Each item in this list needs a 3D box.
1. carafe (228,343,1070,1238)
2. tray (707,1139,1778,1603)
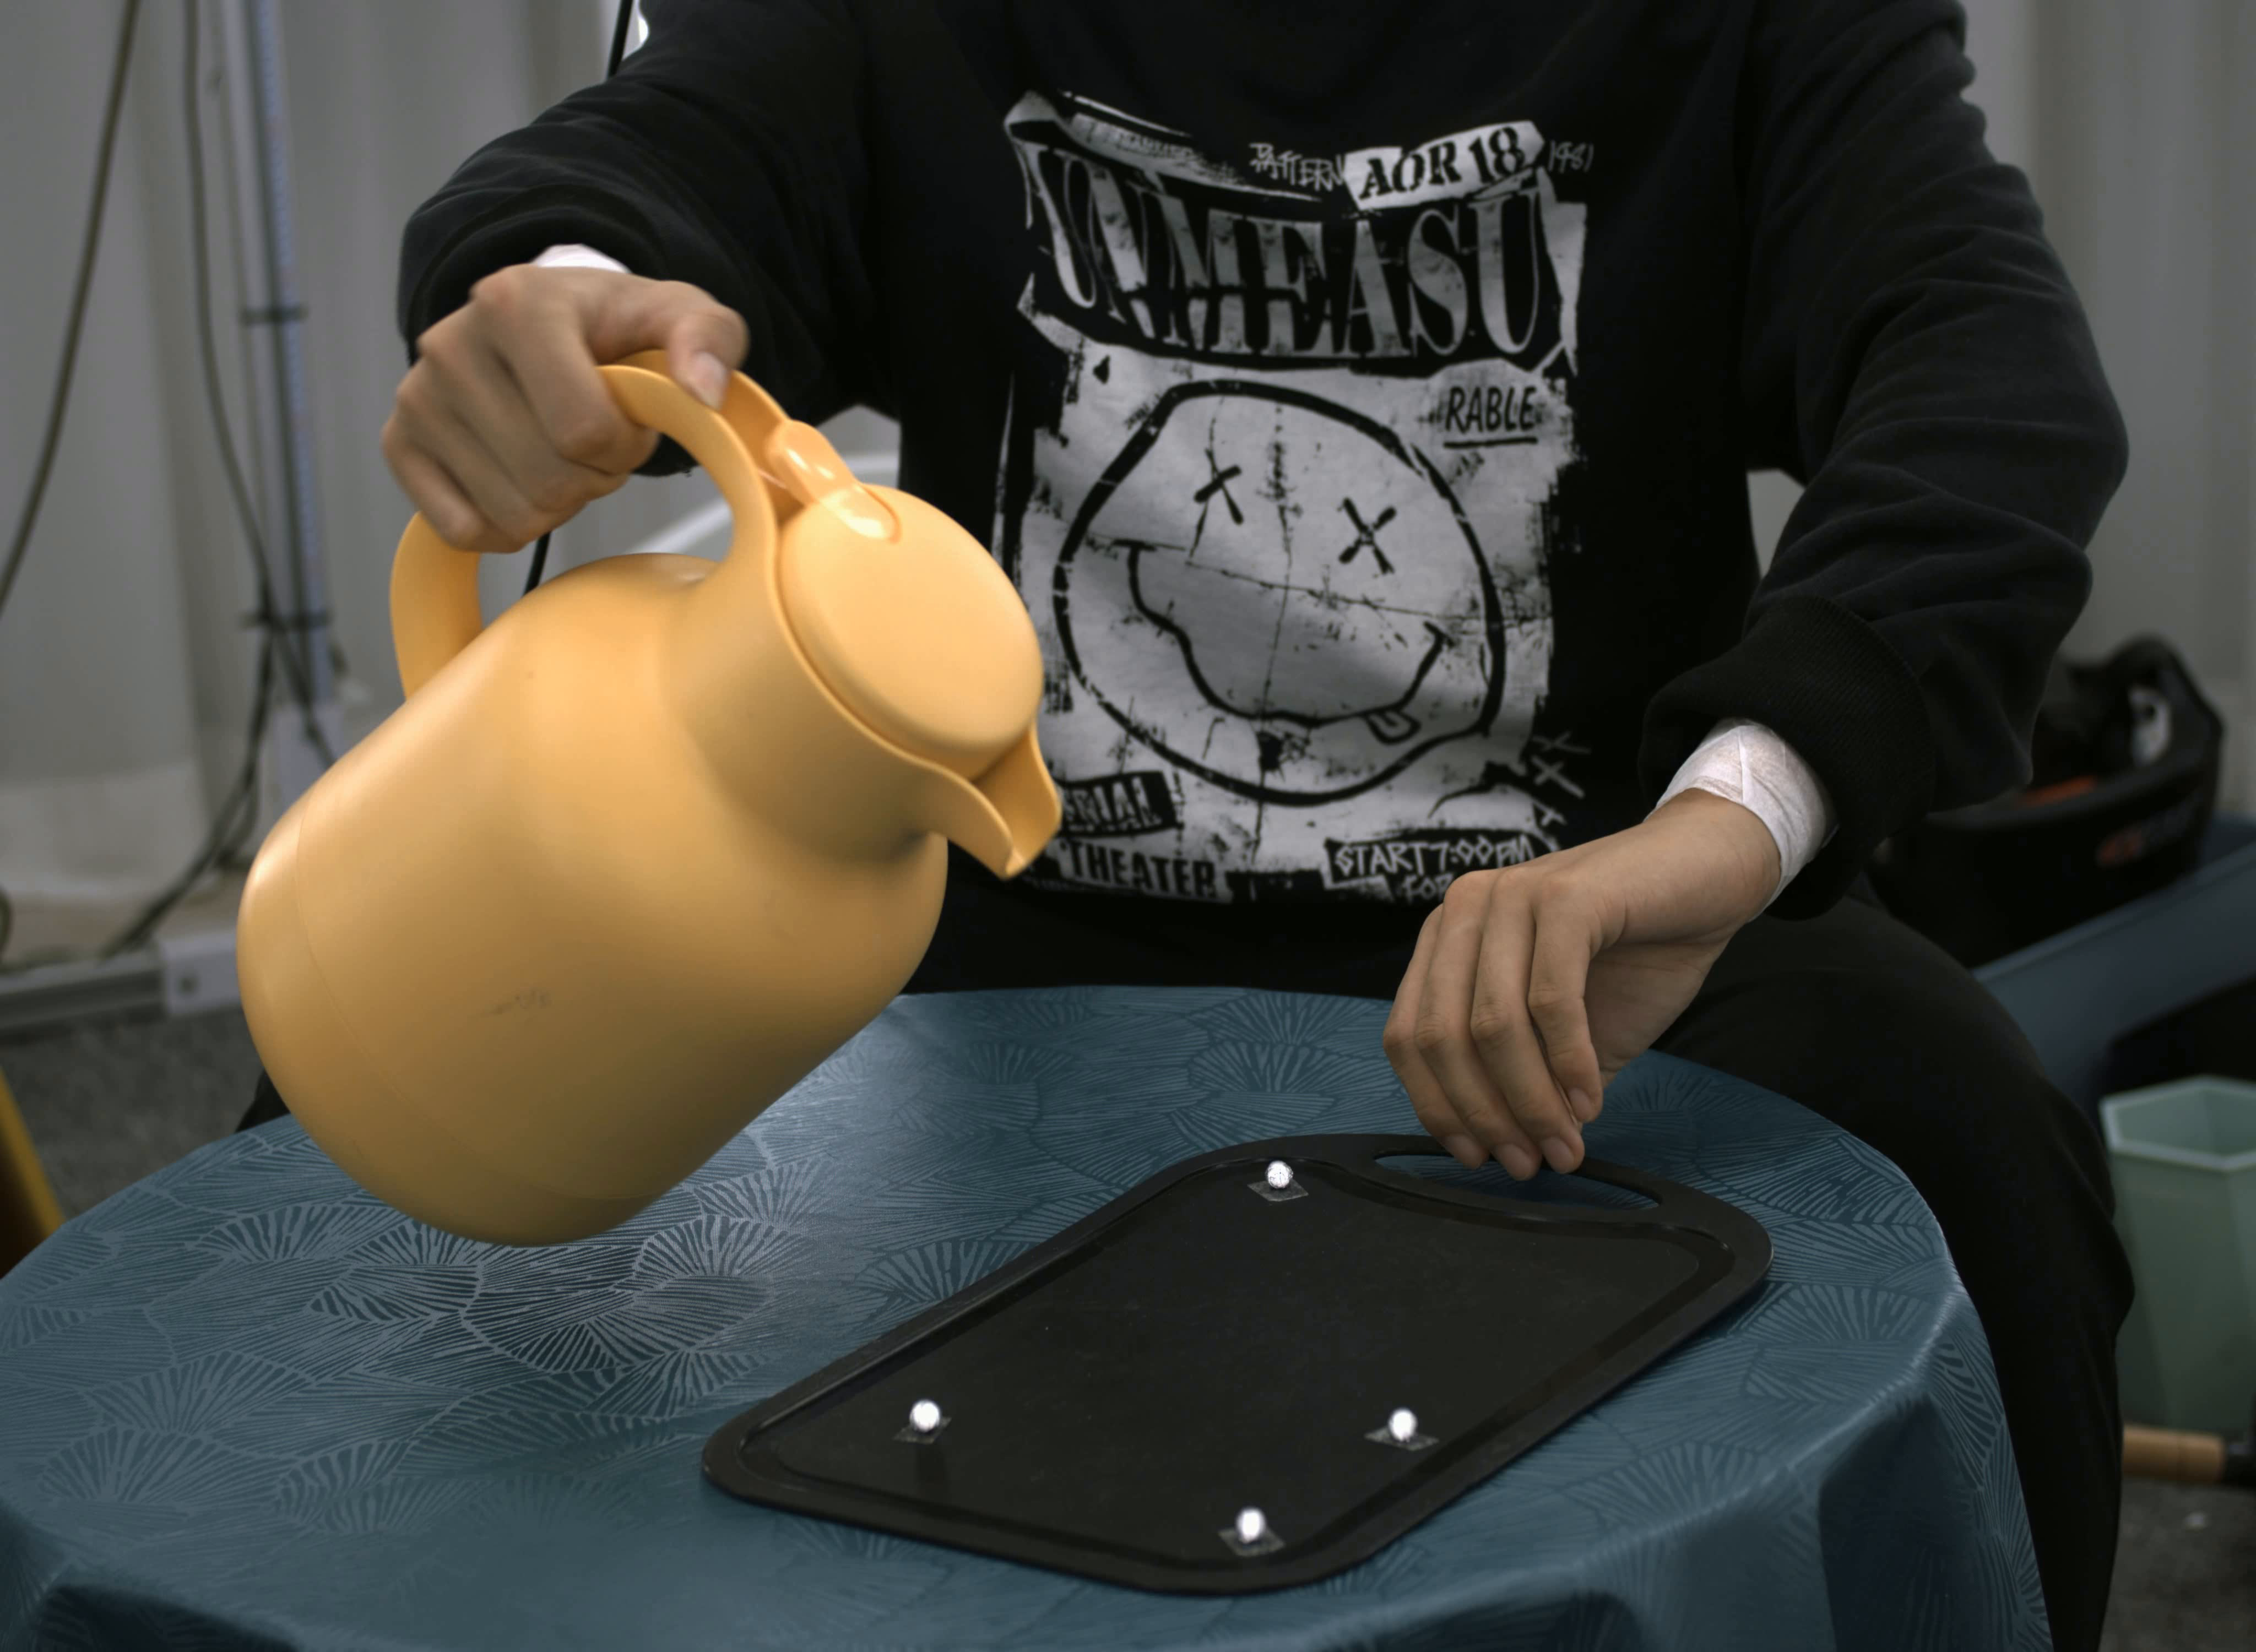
[{"bbox_3d":[-0.143,-0.015,1.600,0.259,0.203,0.163,-35,-9,32],"label":"carafe"},{"bbox_3d":[0.041,0.145,1.564,0.212,0.010,0.325,8,20,34],"label":"tray"}]
